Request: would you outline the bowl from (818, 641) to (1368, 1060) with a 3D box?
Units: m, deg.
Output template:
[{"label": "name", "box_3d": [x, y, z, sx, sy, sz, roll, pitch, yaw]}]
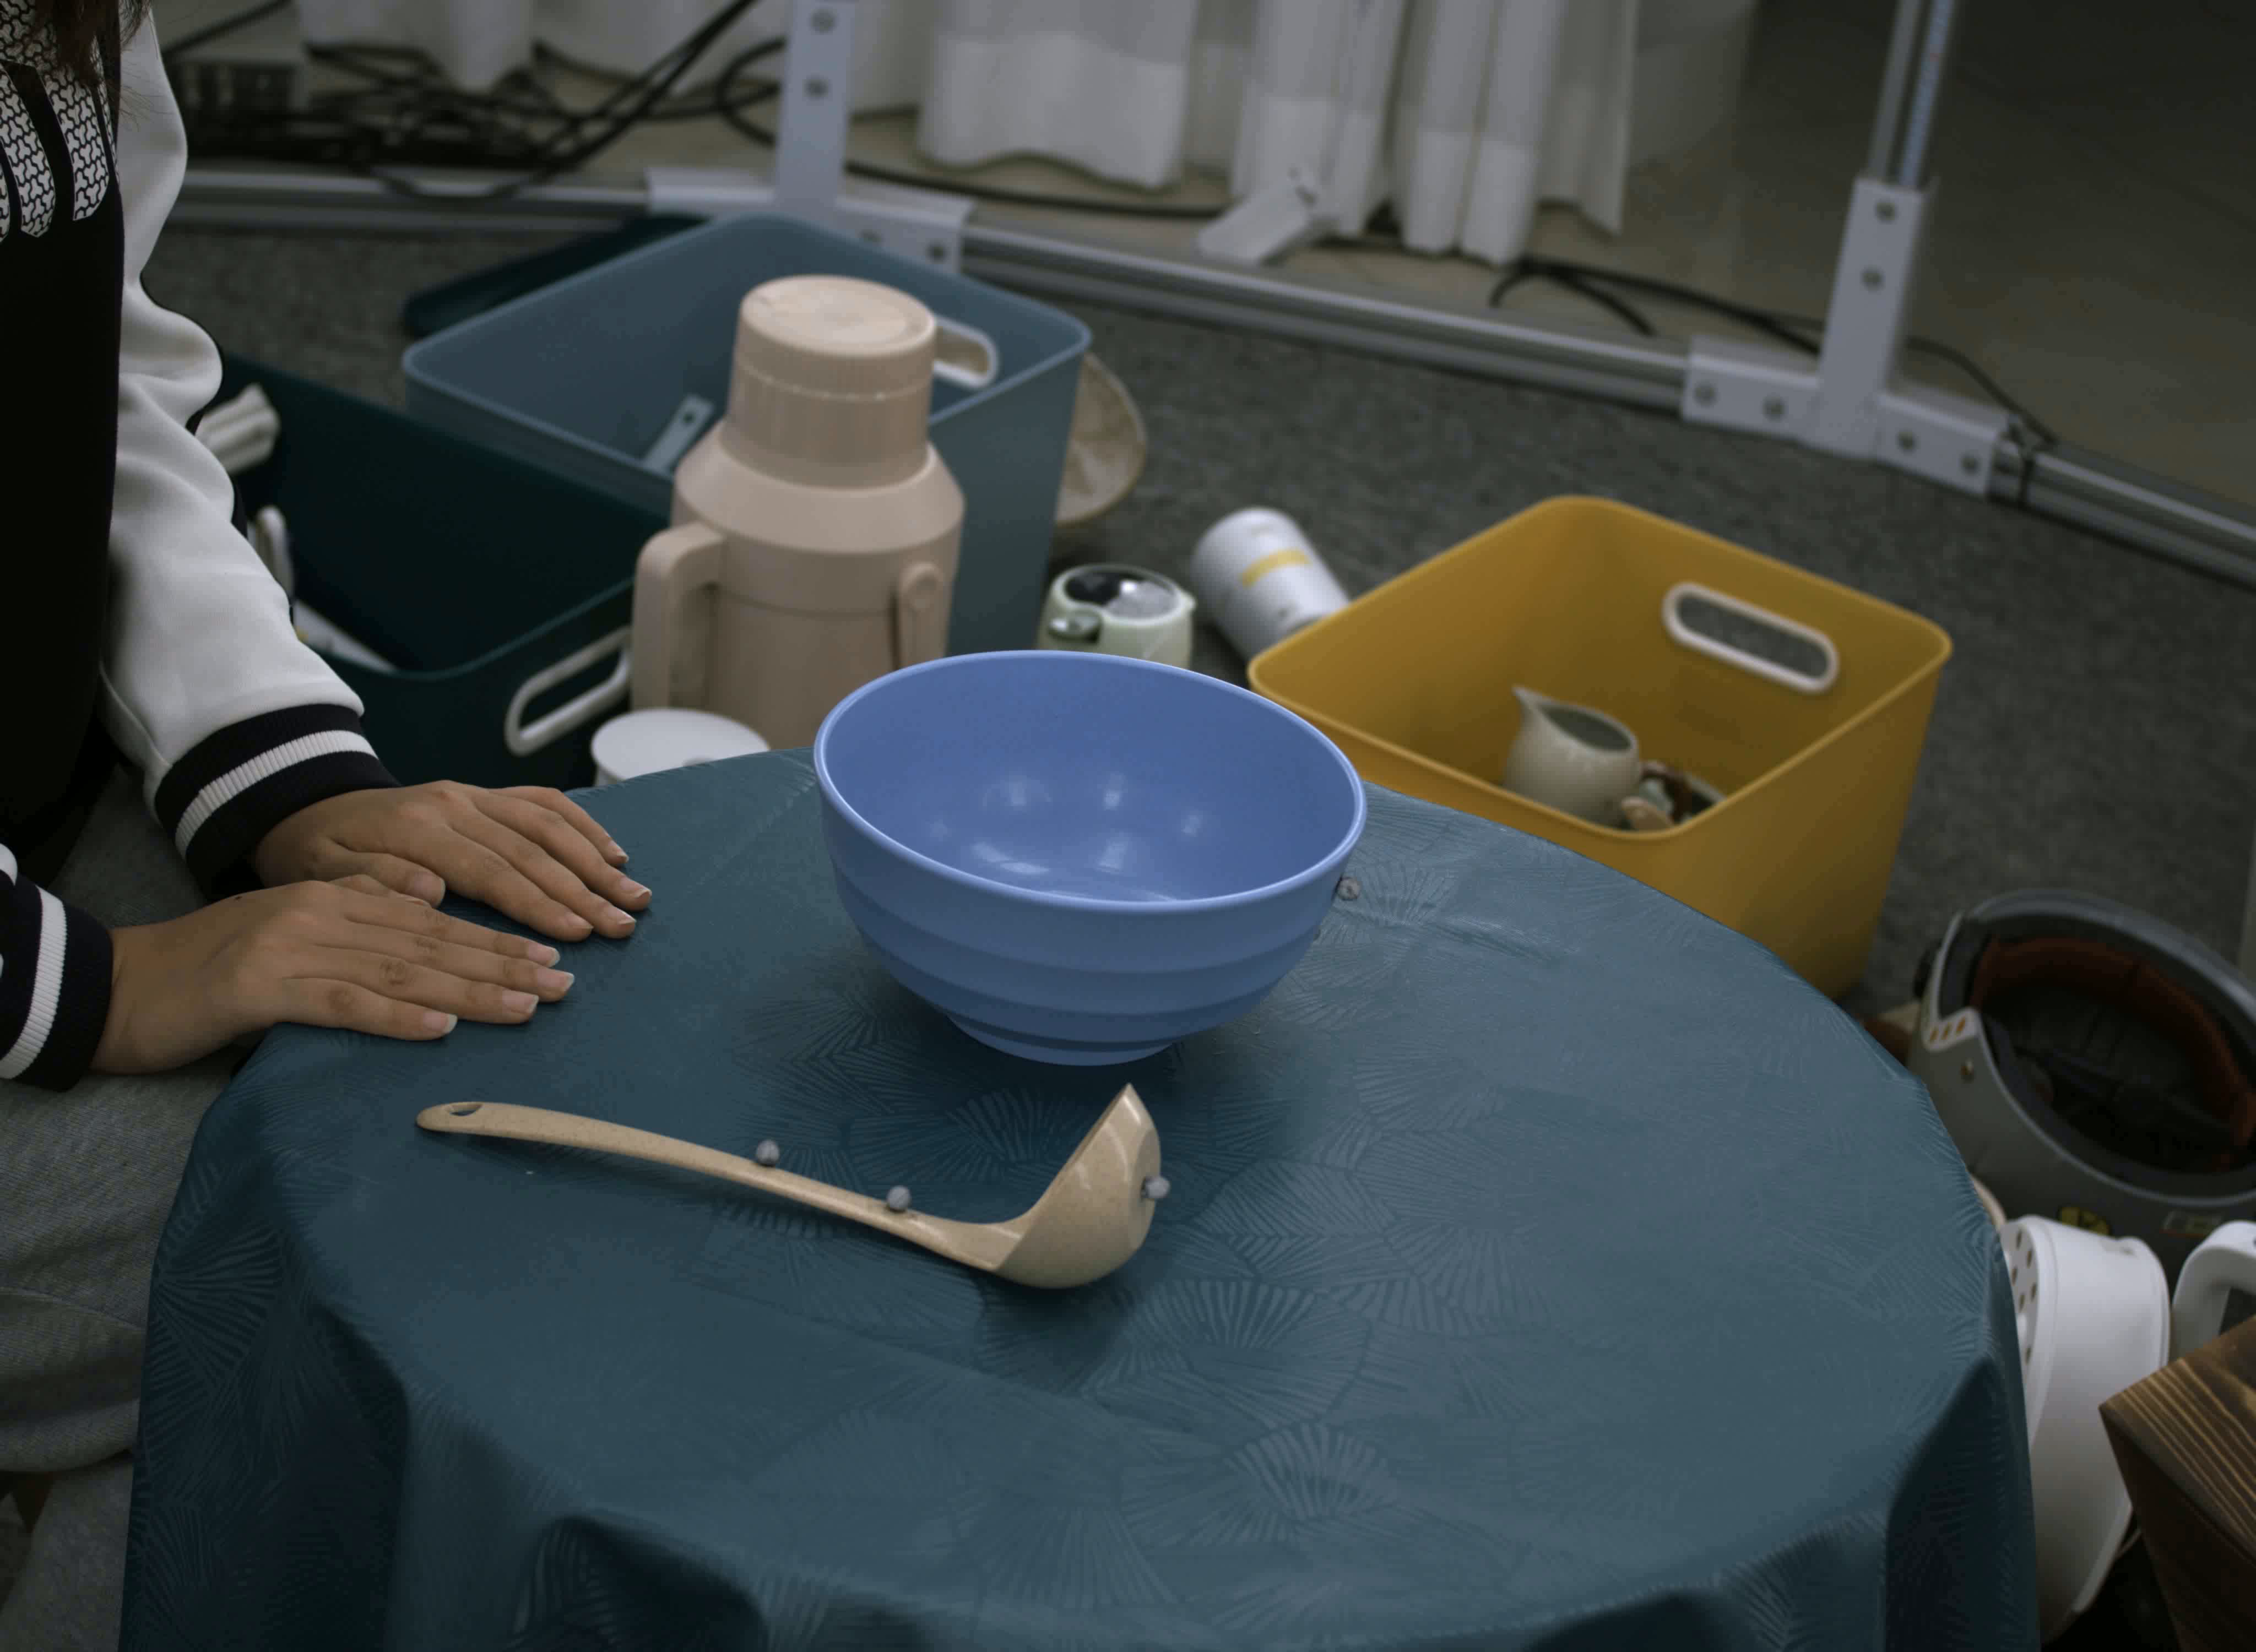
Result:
[{"label": "bowl", "box_3d": [-0.019, 0.020, 1.893, 0.196, 0.095, 0.197, 8, 27, -4]}]

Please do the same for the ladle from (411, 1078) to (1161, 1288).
[{"label": "ladle", "box_3d": [-0.115, 0.095, 1.752, 0.254, 0.072, 0.072, 12, 26, 10]}]
